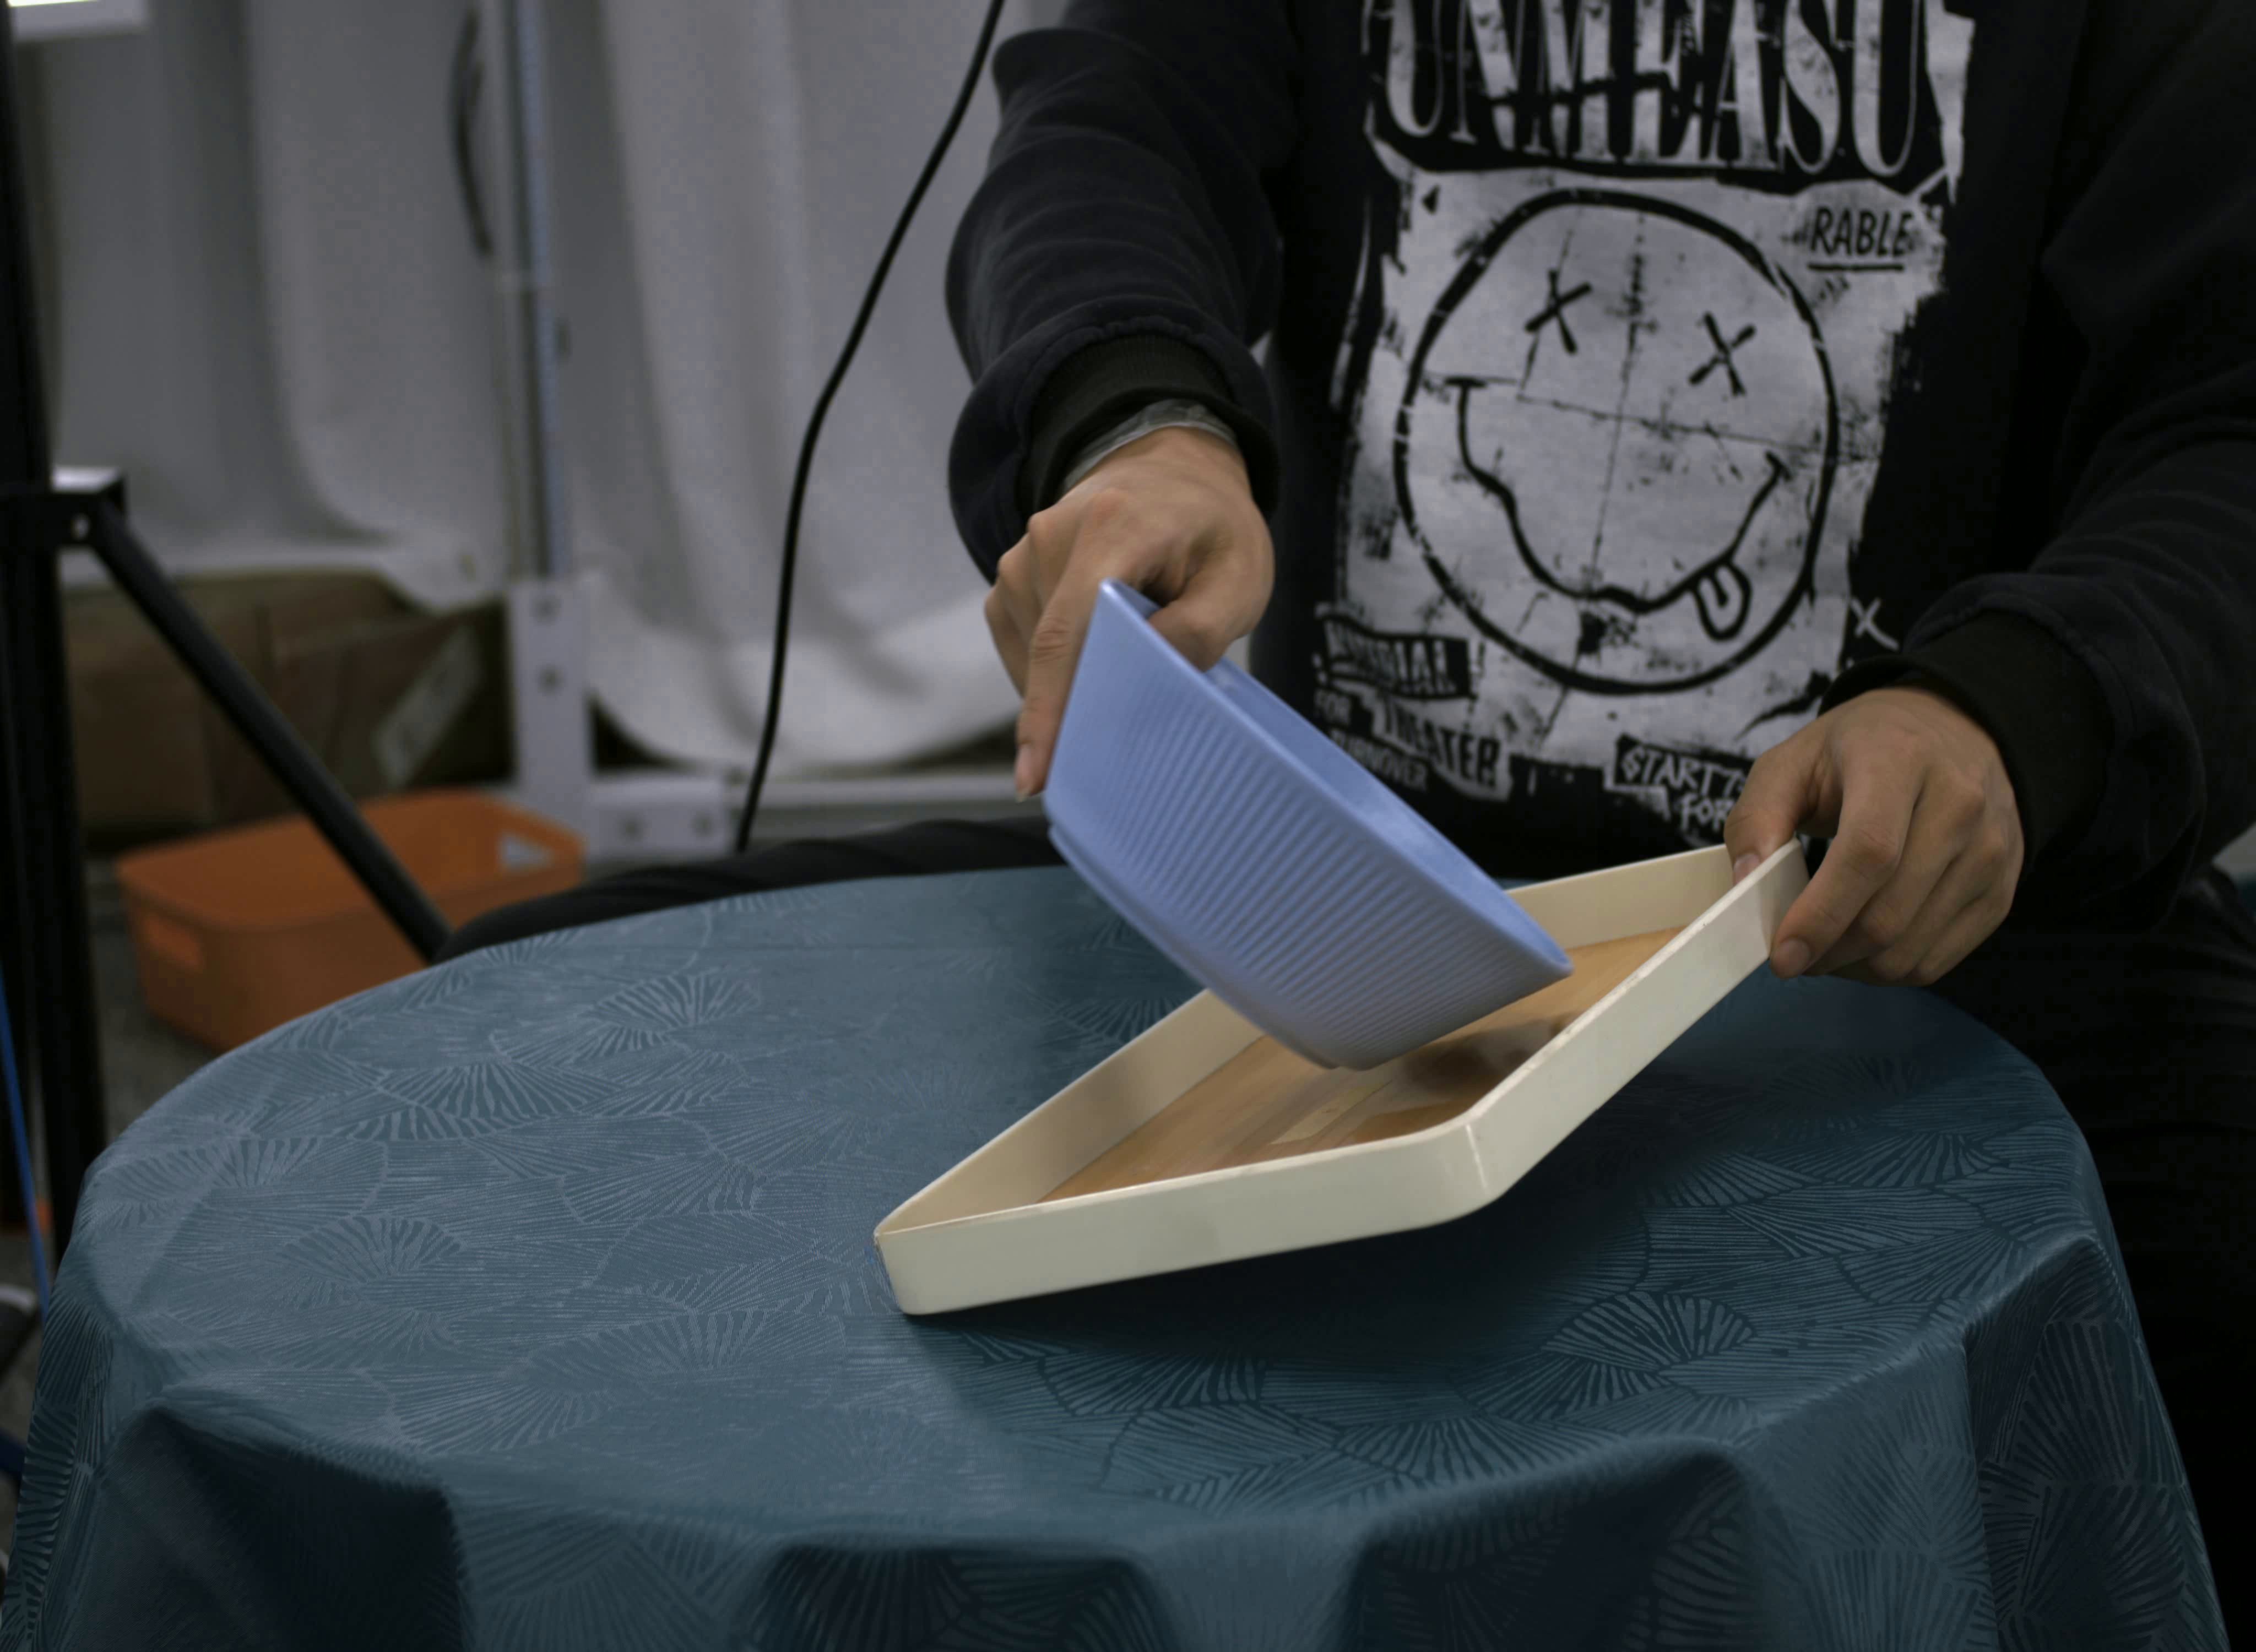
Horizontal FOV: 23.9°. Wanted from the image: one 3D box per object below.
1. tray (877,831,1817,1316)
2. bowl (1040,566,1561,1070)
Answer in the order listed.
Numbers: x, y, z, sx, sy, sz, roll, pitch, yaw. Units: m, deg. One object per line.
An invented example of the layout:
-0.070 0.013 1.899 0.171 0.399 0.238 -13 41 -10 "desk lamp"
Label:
0.071 0.070 1.542 0.194 0.027 0.296 -13 10 29 "tray"
0.038 0.008 1.522 0.175 0.070 0.177 40 6 -8 "bowl"
